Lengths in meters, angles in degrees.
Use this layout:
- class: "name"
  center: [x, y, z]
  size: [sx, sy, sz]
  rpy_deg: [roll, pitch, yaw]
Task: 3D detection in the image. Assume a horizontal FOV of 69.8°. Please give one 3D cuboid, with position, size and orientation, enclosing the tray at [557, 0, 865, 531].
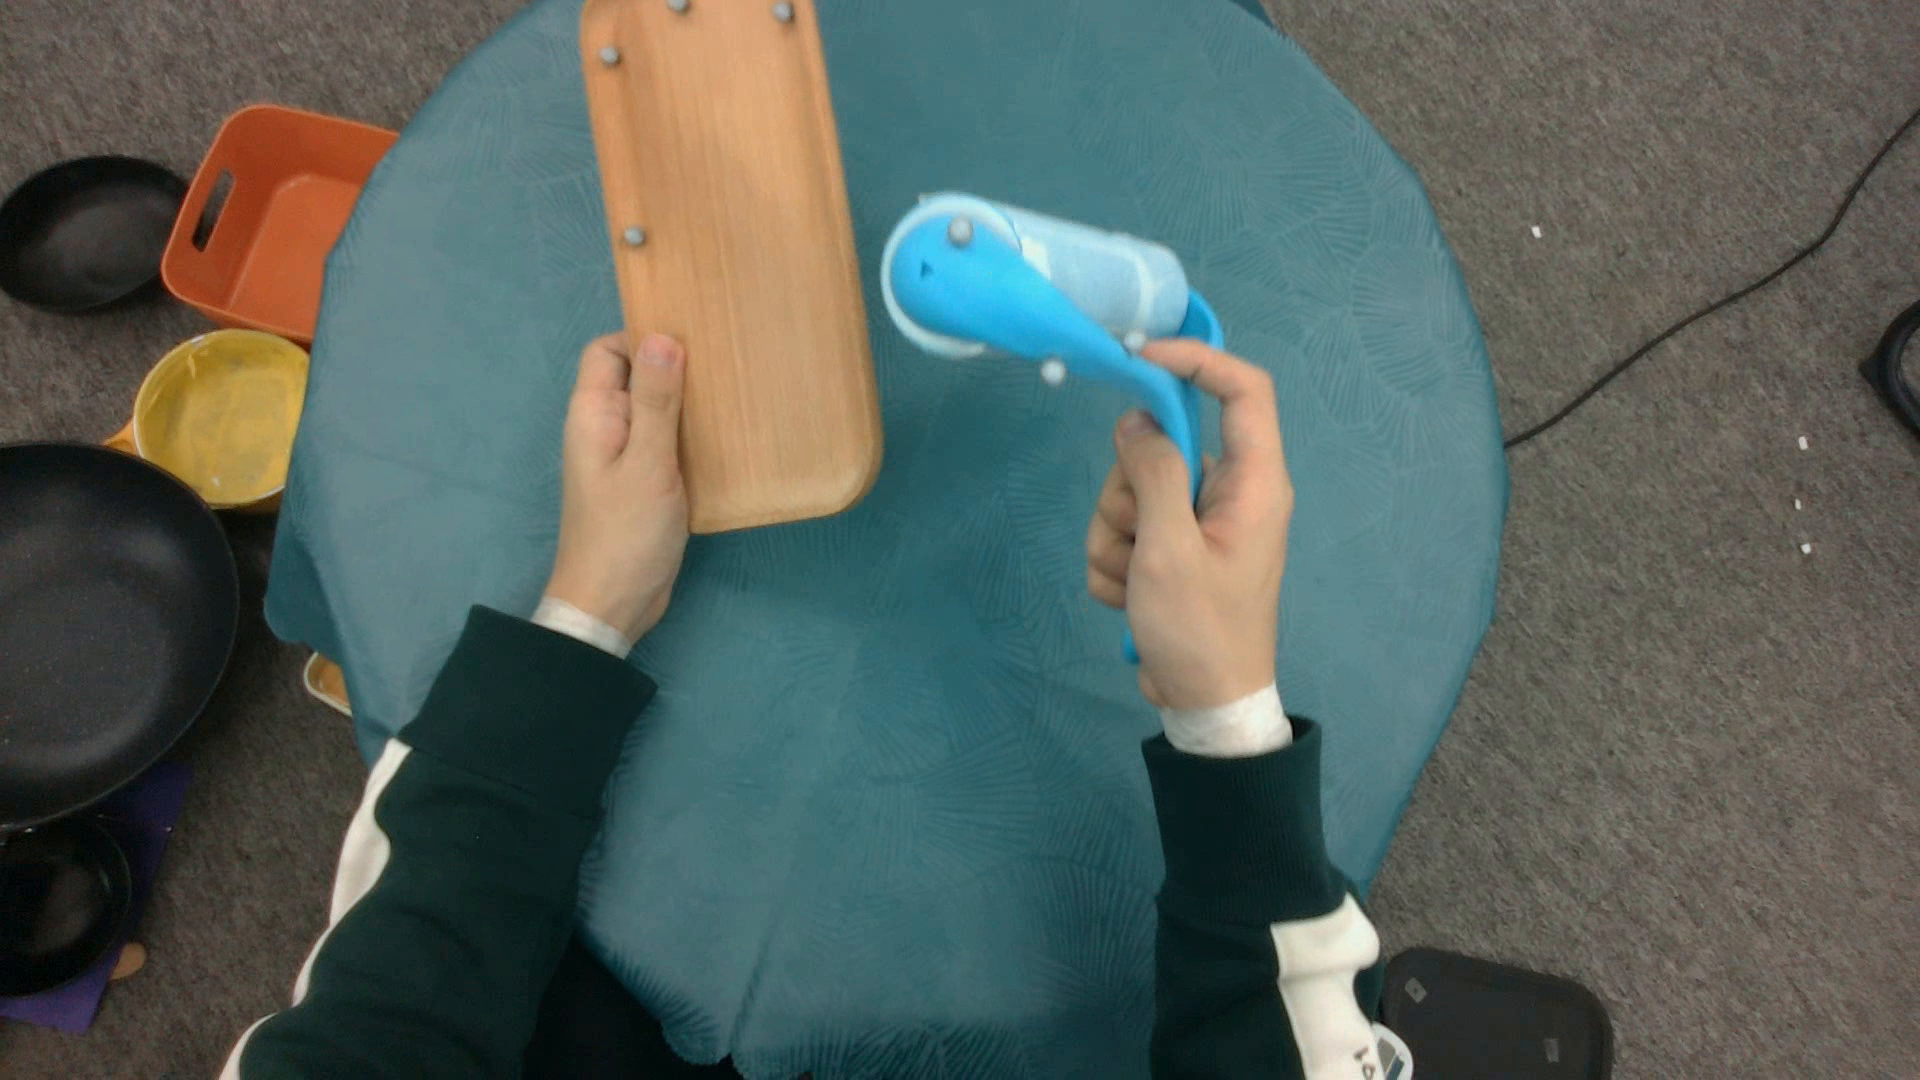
- class: "tray"
  center: [-0.107, -0.132, 0.584]
  size: [0.023, 0.130, 0.250]
  rpy_deg: [-11, 93, -56]

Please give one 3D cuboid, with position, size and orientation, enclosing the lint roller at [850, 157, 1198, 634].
- class: "lint roller"
  center: [0.051, -0.057, 0.533]
  size: [0.067, 0.229, 0.180]
  rpy_deg: [-23, 90, 25]
